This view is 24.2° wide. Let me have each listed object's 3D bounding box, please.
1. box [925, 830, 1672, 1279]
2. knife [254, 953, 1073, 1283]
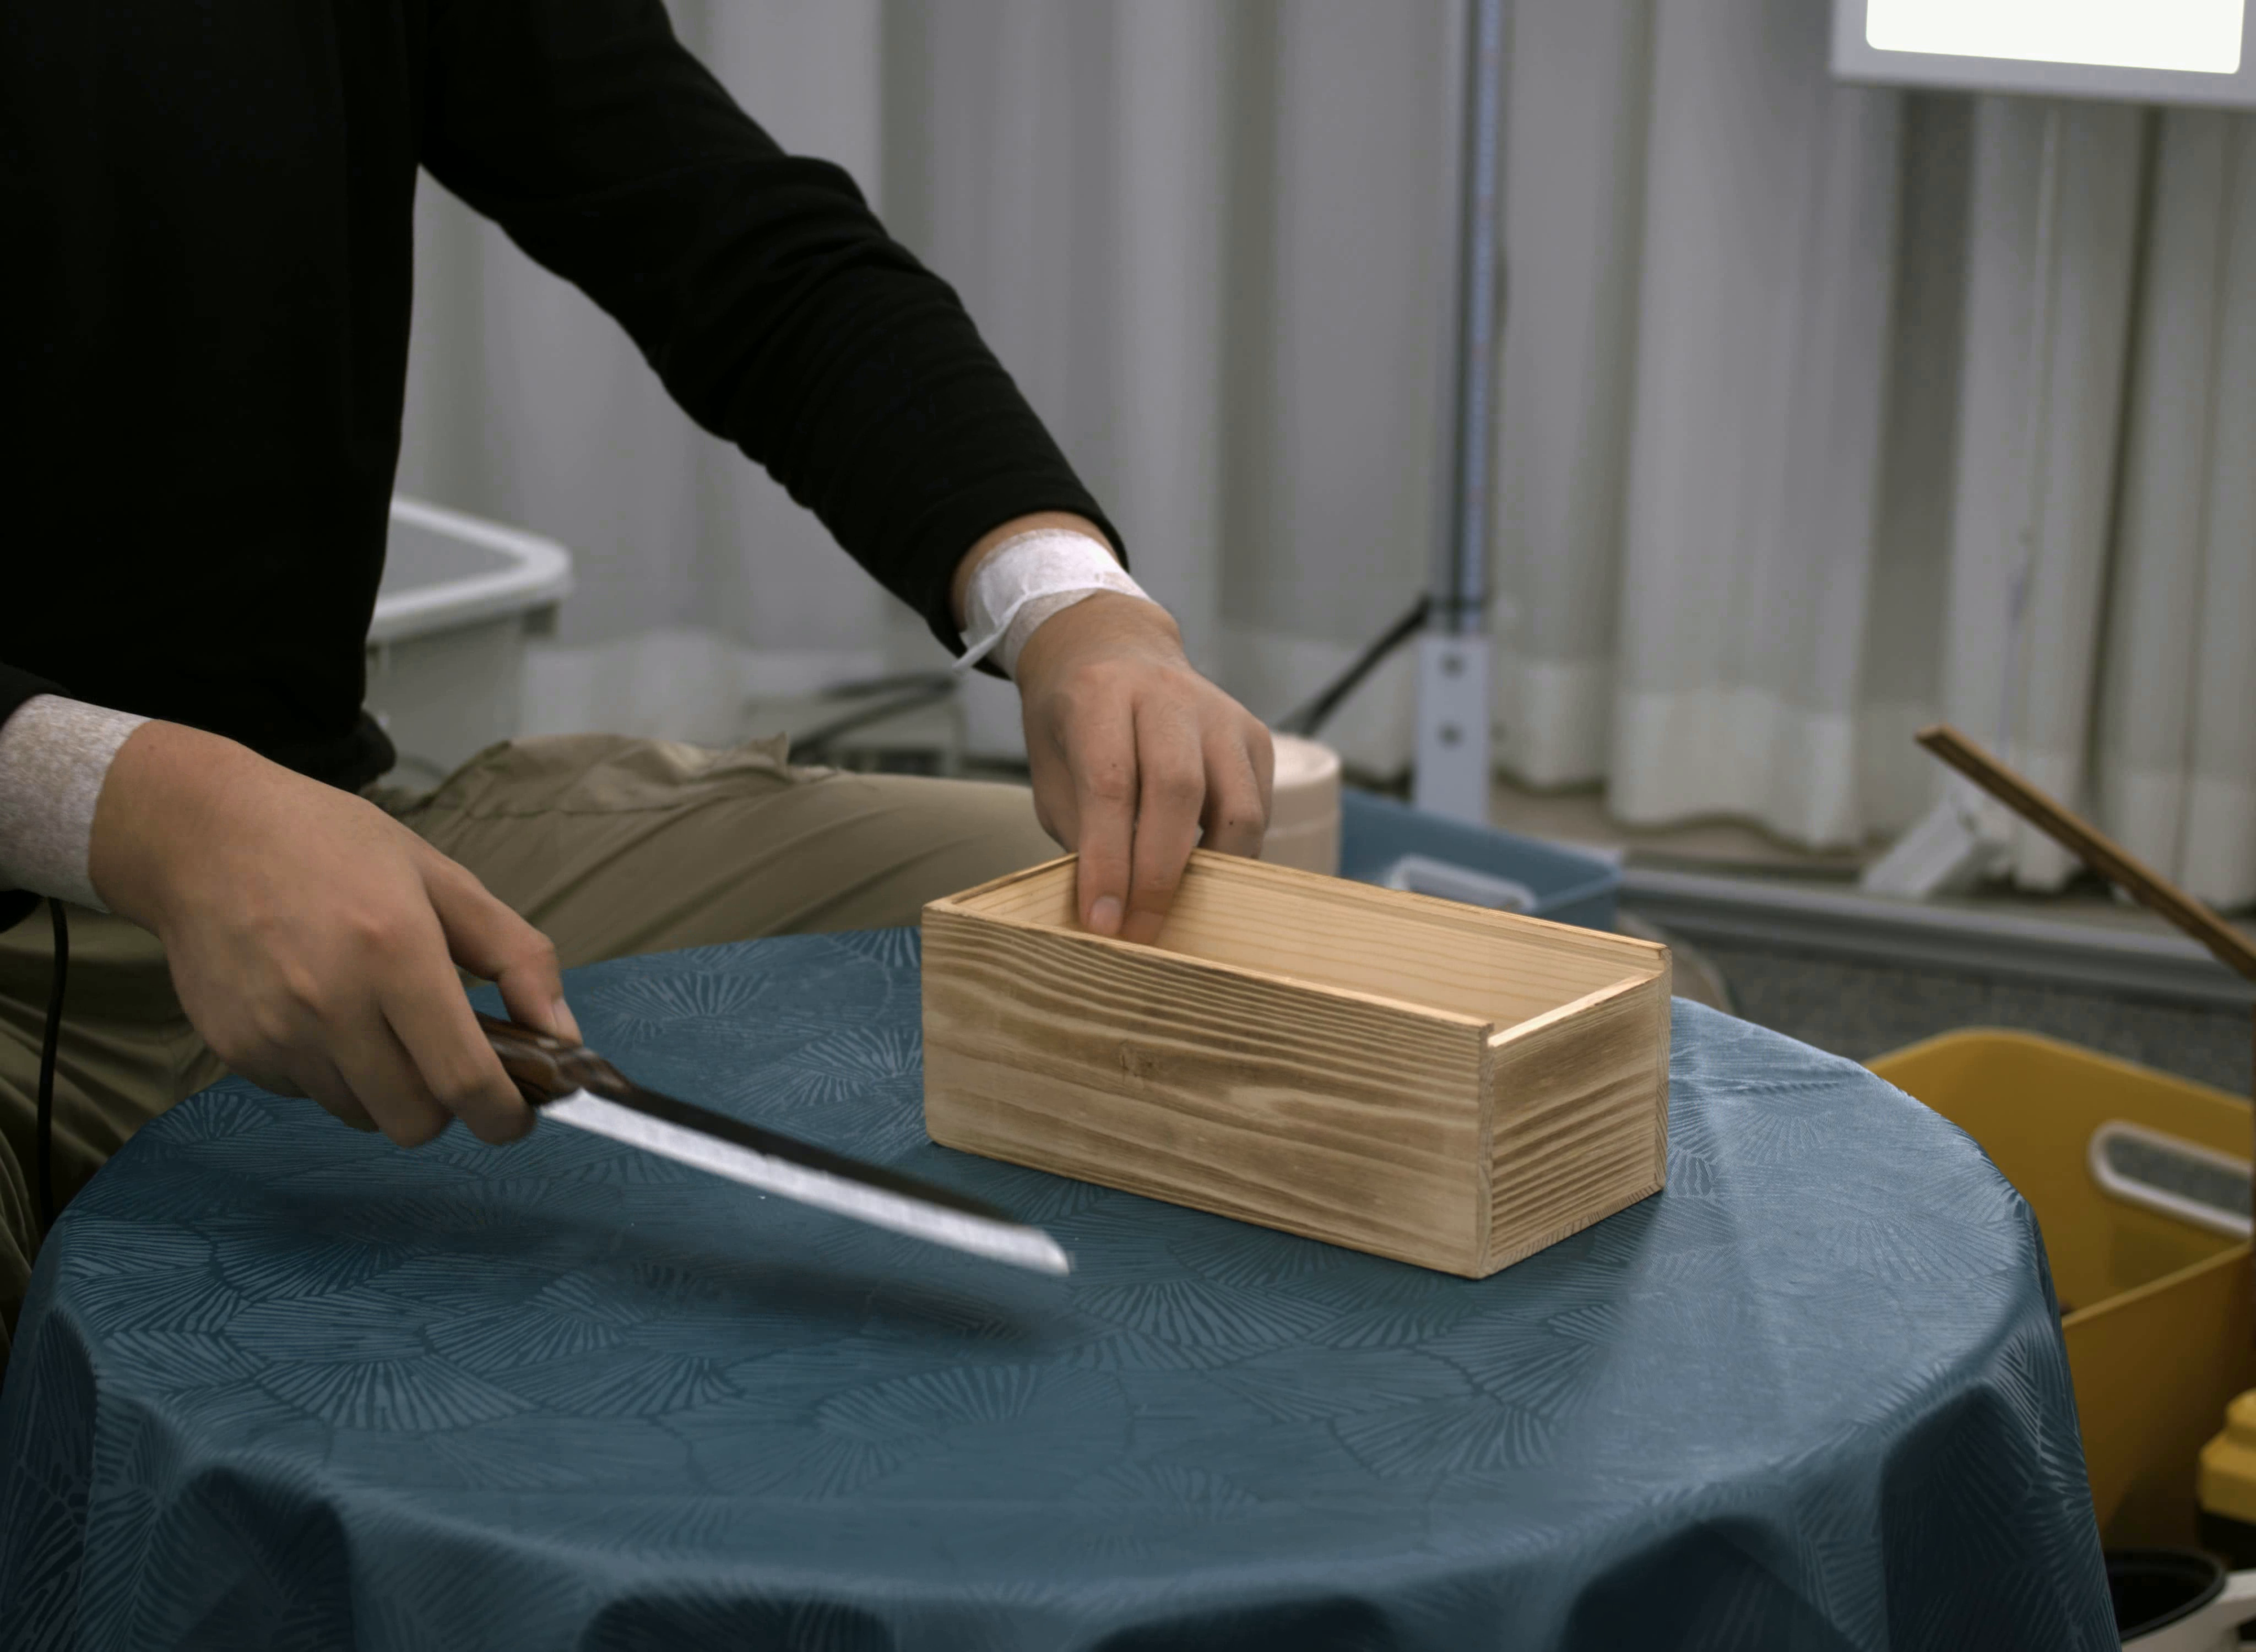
[{"bbox_3d":[0.051,0.067,1.635,0.208,0.081,0.108,12,19,35],"label":"box"},{"bbox_3d":[-0.141,0.088,1.548,0.286,0.020,0.050,18,19,22],"label":"knife"}]
